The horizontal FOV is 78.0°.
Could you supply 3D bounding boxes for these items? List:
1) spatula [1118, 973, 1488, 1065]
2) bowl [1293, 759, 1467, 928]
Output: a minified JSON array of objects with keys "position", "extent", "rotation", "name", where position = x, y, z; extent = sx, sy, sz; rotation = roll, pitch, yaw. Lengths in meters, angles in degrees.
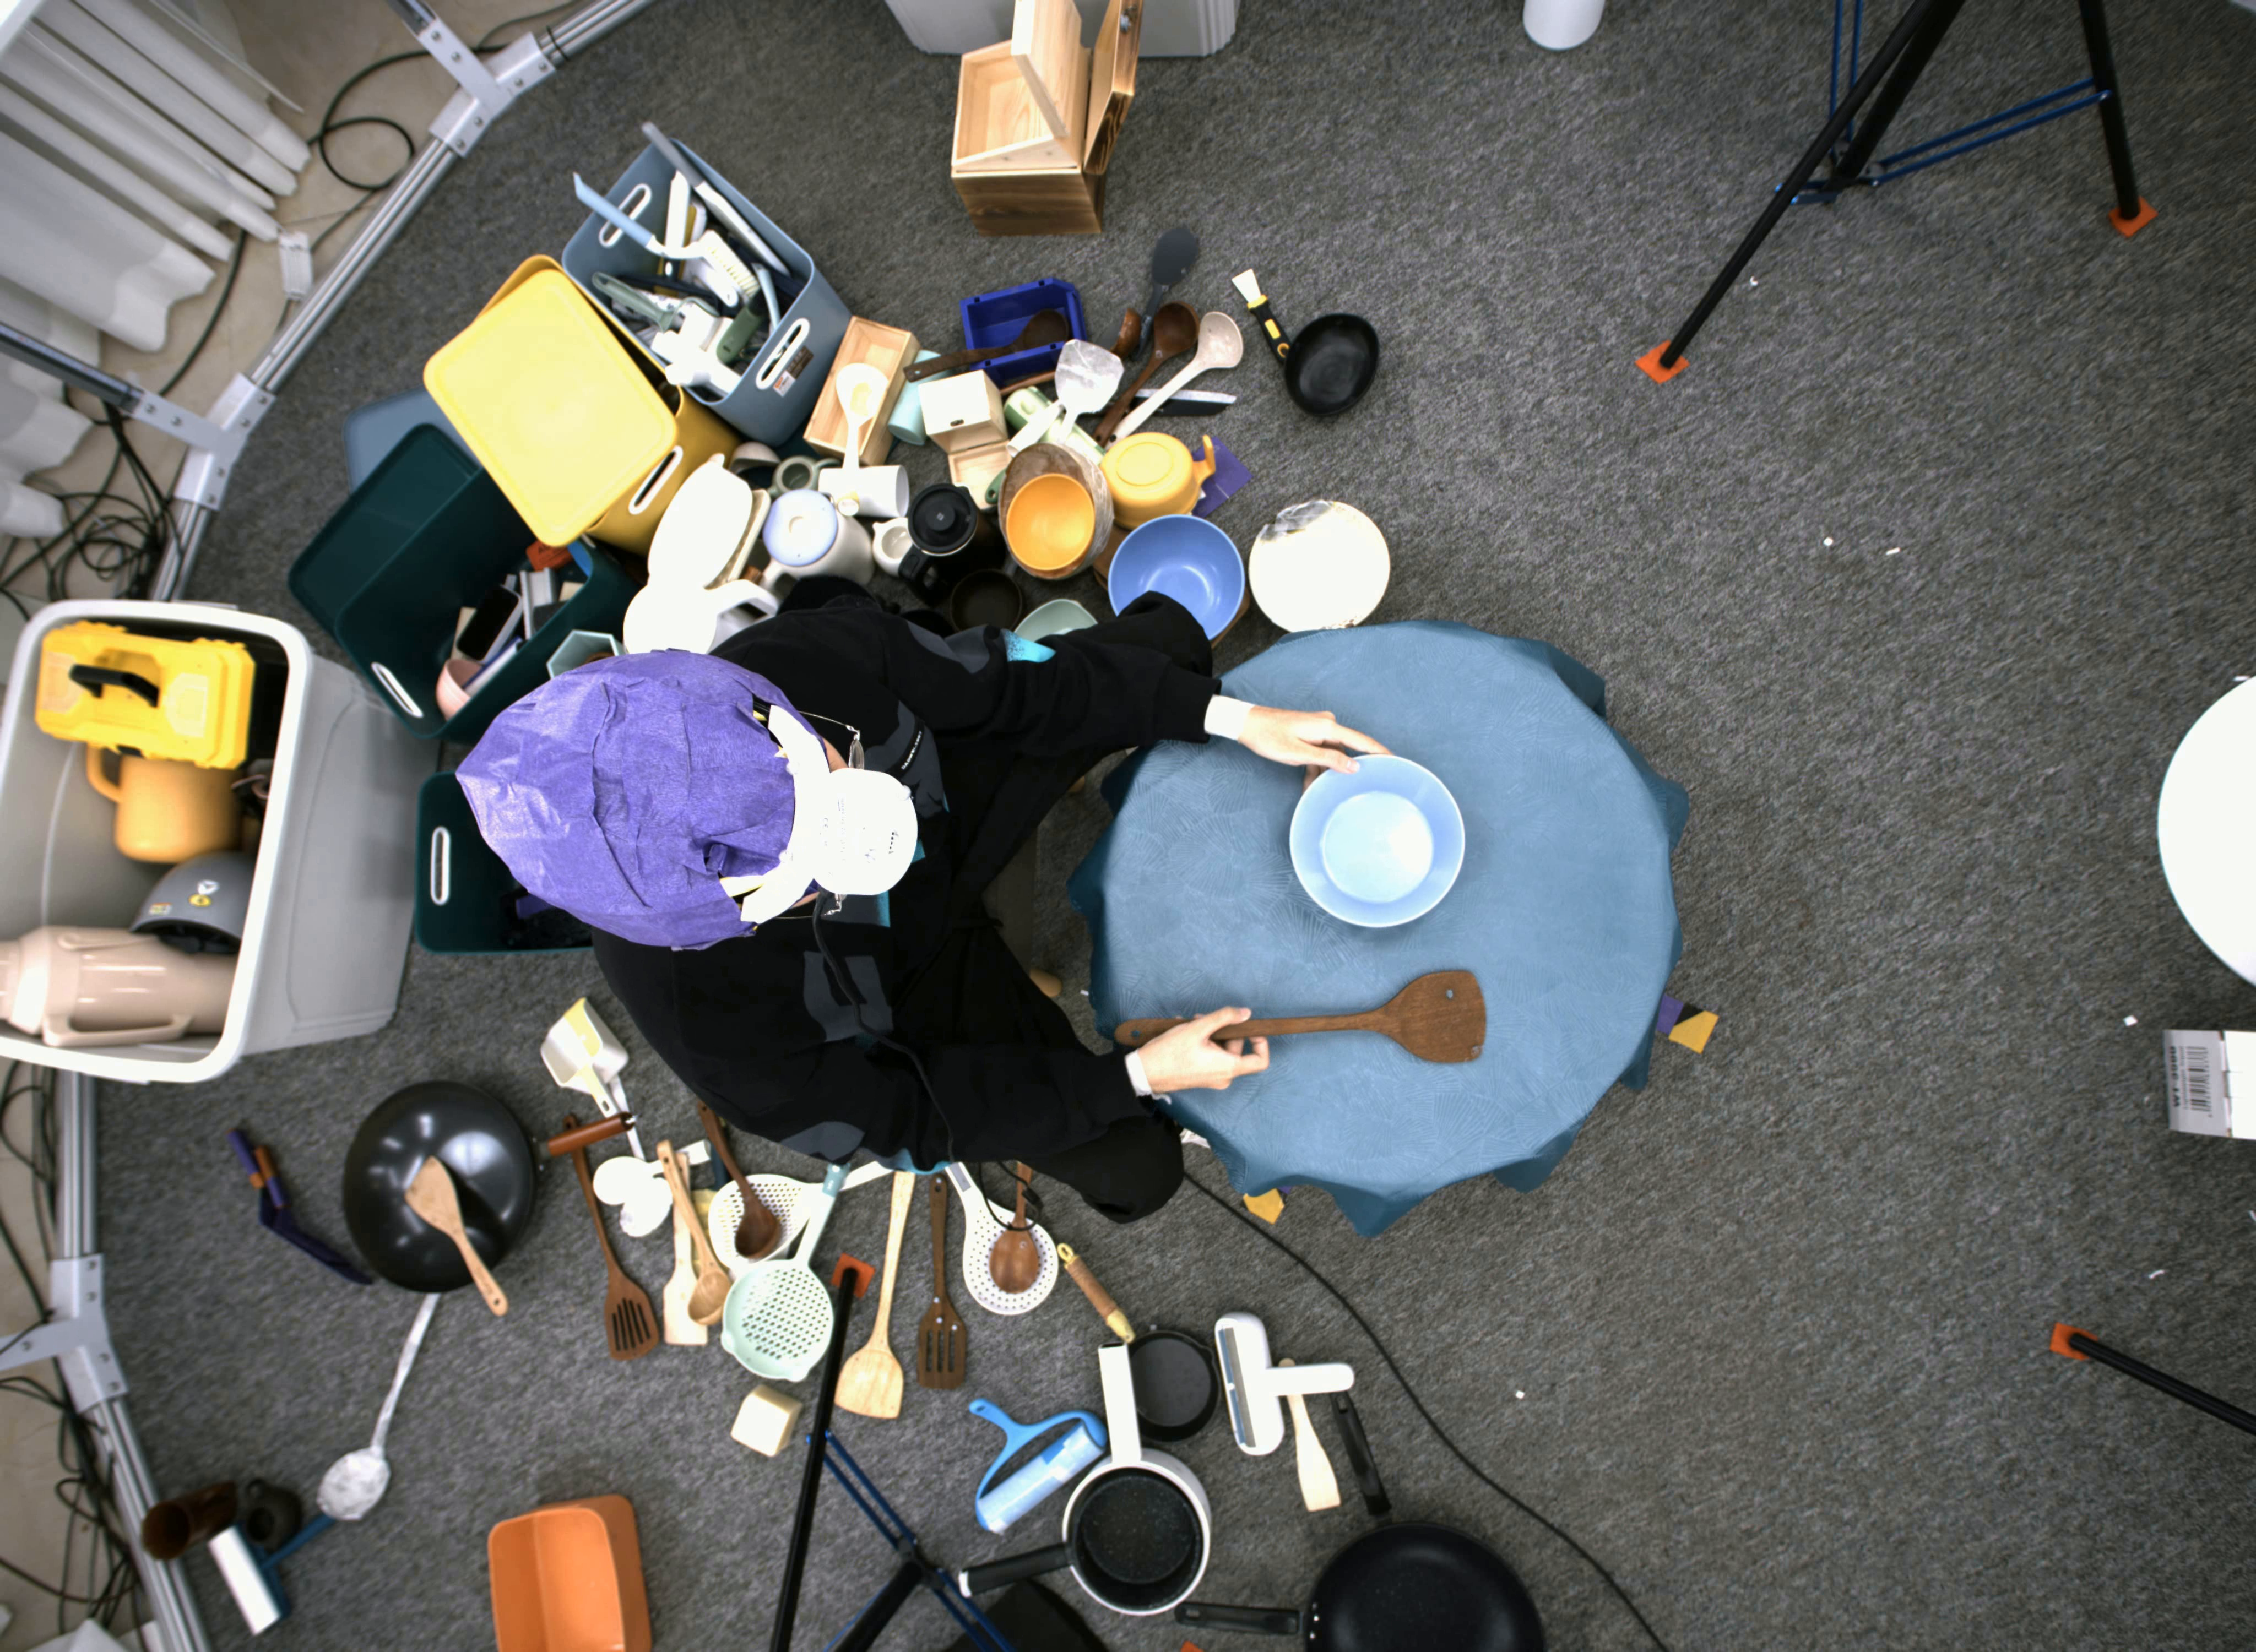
[{"position":[0.183,0.206,1.433],"extent":[0.386,0.016,0.095],"rotation":[-3,87,-2],"name":"spatula"},{"position":[0.262,0.021,1.433],"extent":[0.177,0.070,0.175],"rotation":[-2,83,12],"name":"bowl"}]
